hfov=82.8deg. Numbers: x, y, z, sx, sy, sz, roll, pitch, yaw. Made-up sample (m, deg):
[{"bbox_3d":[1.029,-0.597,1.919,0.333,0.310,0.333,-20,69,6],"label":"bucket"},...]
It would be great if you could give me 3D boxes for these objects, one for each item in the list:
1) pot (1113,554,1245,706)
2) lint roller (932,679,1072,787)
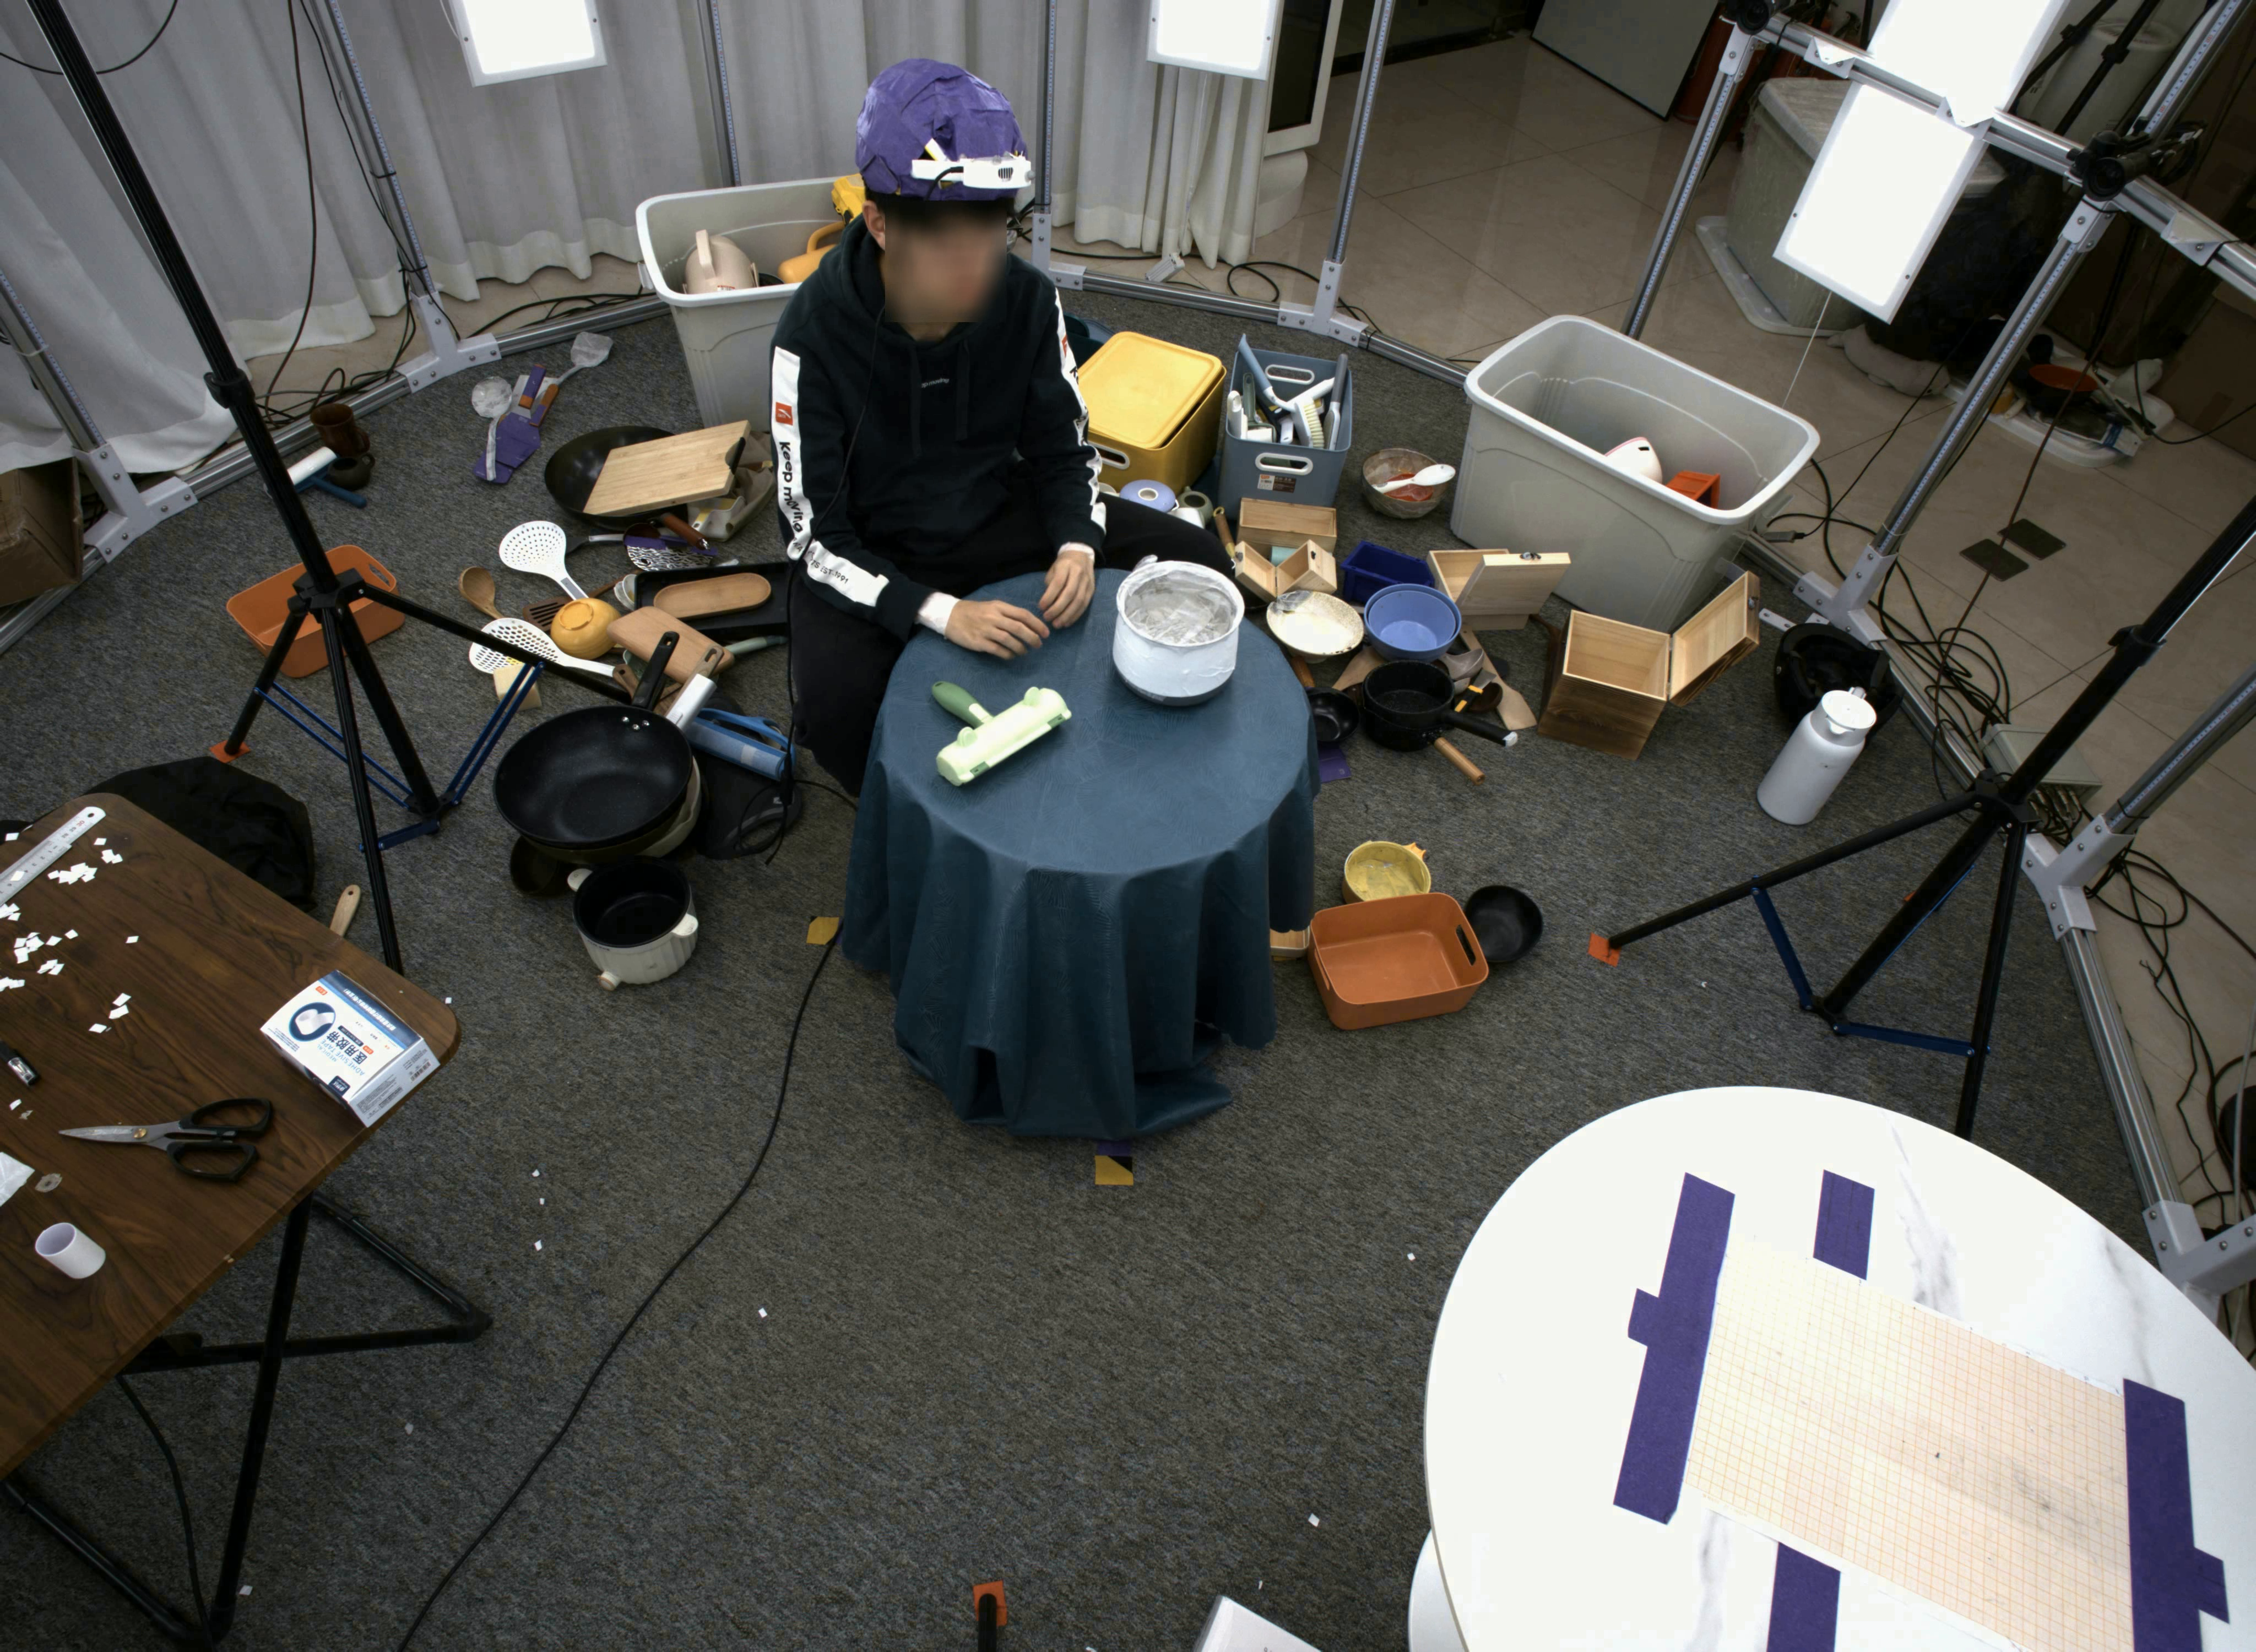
[{"bbox_3d":[0.058,-0.289,1.832,0.179,0.133,0.239,-16,53,-18],"label":"pot"},{"bbox_3d":[-0.205,-0.160,1.746,0.200,0.080,0.186,-34,64,-28],"label":"lint roller"}]
